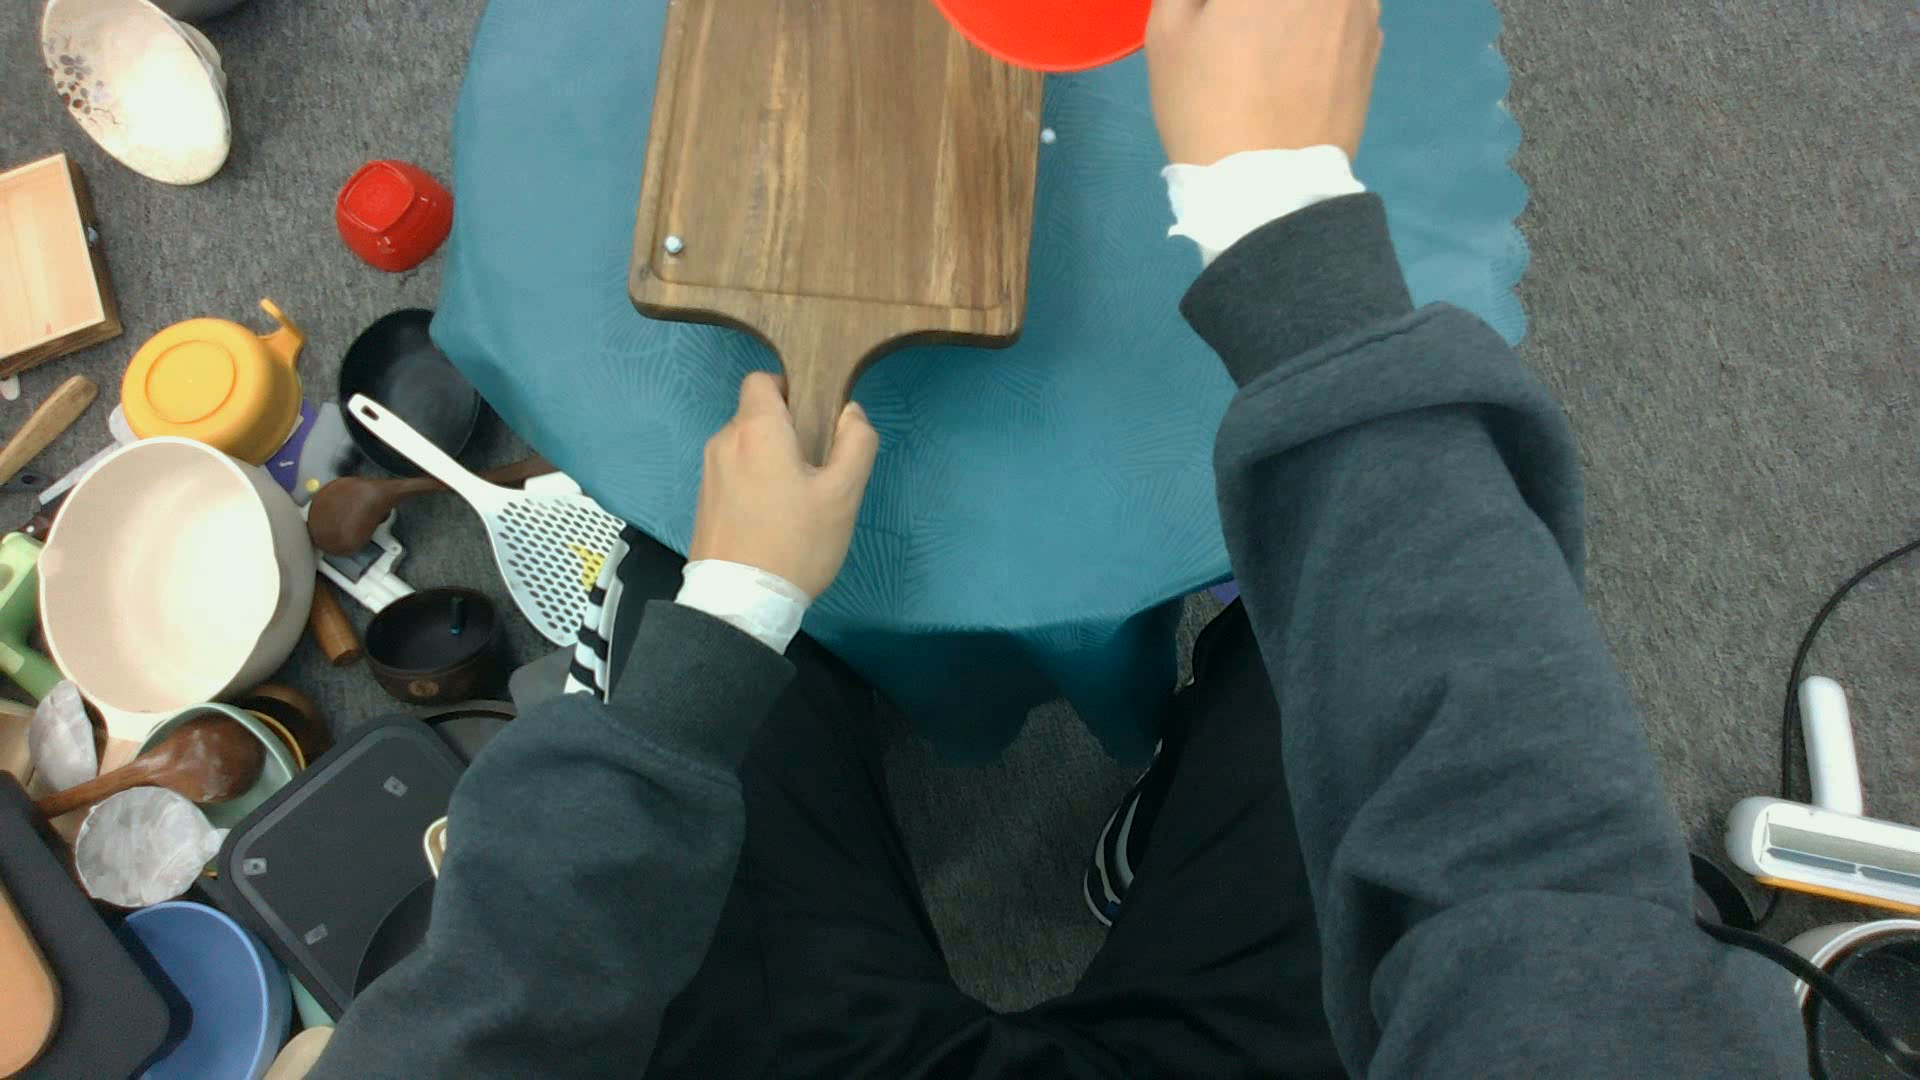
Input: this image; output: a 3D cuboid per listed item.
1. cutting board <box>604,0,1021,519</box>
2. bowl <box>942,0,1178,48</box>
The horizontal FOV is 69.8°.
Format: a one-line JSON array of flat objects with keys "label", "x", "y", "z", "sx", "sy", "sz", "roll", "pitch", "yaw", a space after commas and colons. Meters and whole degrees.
[{"label": "cutting board", "x": -0.073, "y": -0.182, "z": 0.696, "sx": 0.201, "sy": 0.023, "sz": 0.353, "roll": 4, "pitch": 76, "yaw": -1}, {"label": "bowl", "x": 0.062, "y": -0.279, "z": 0.566, "sx": 0.148, "sy": 0.105, "sz": 0.147, "roll": 11, "pitch": 110, "yaw": 32}]
